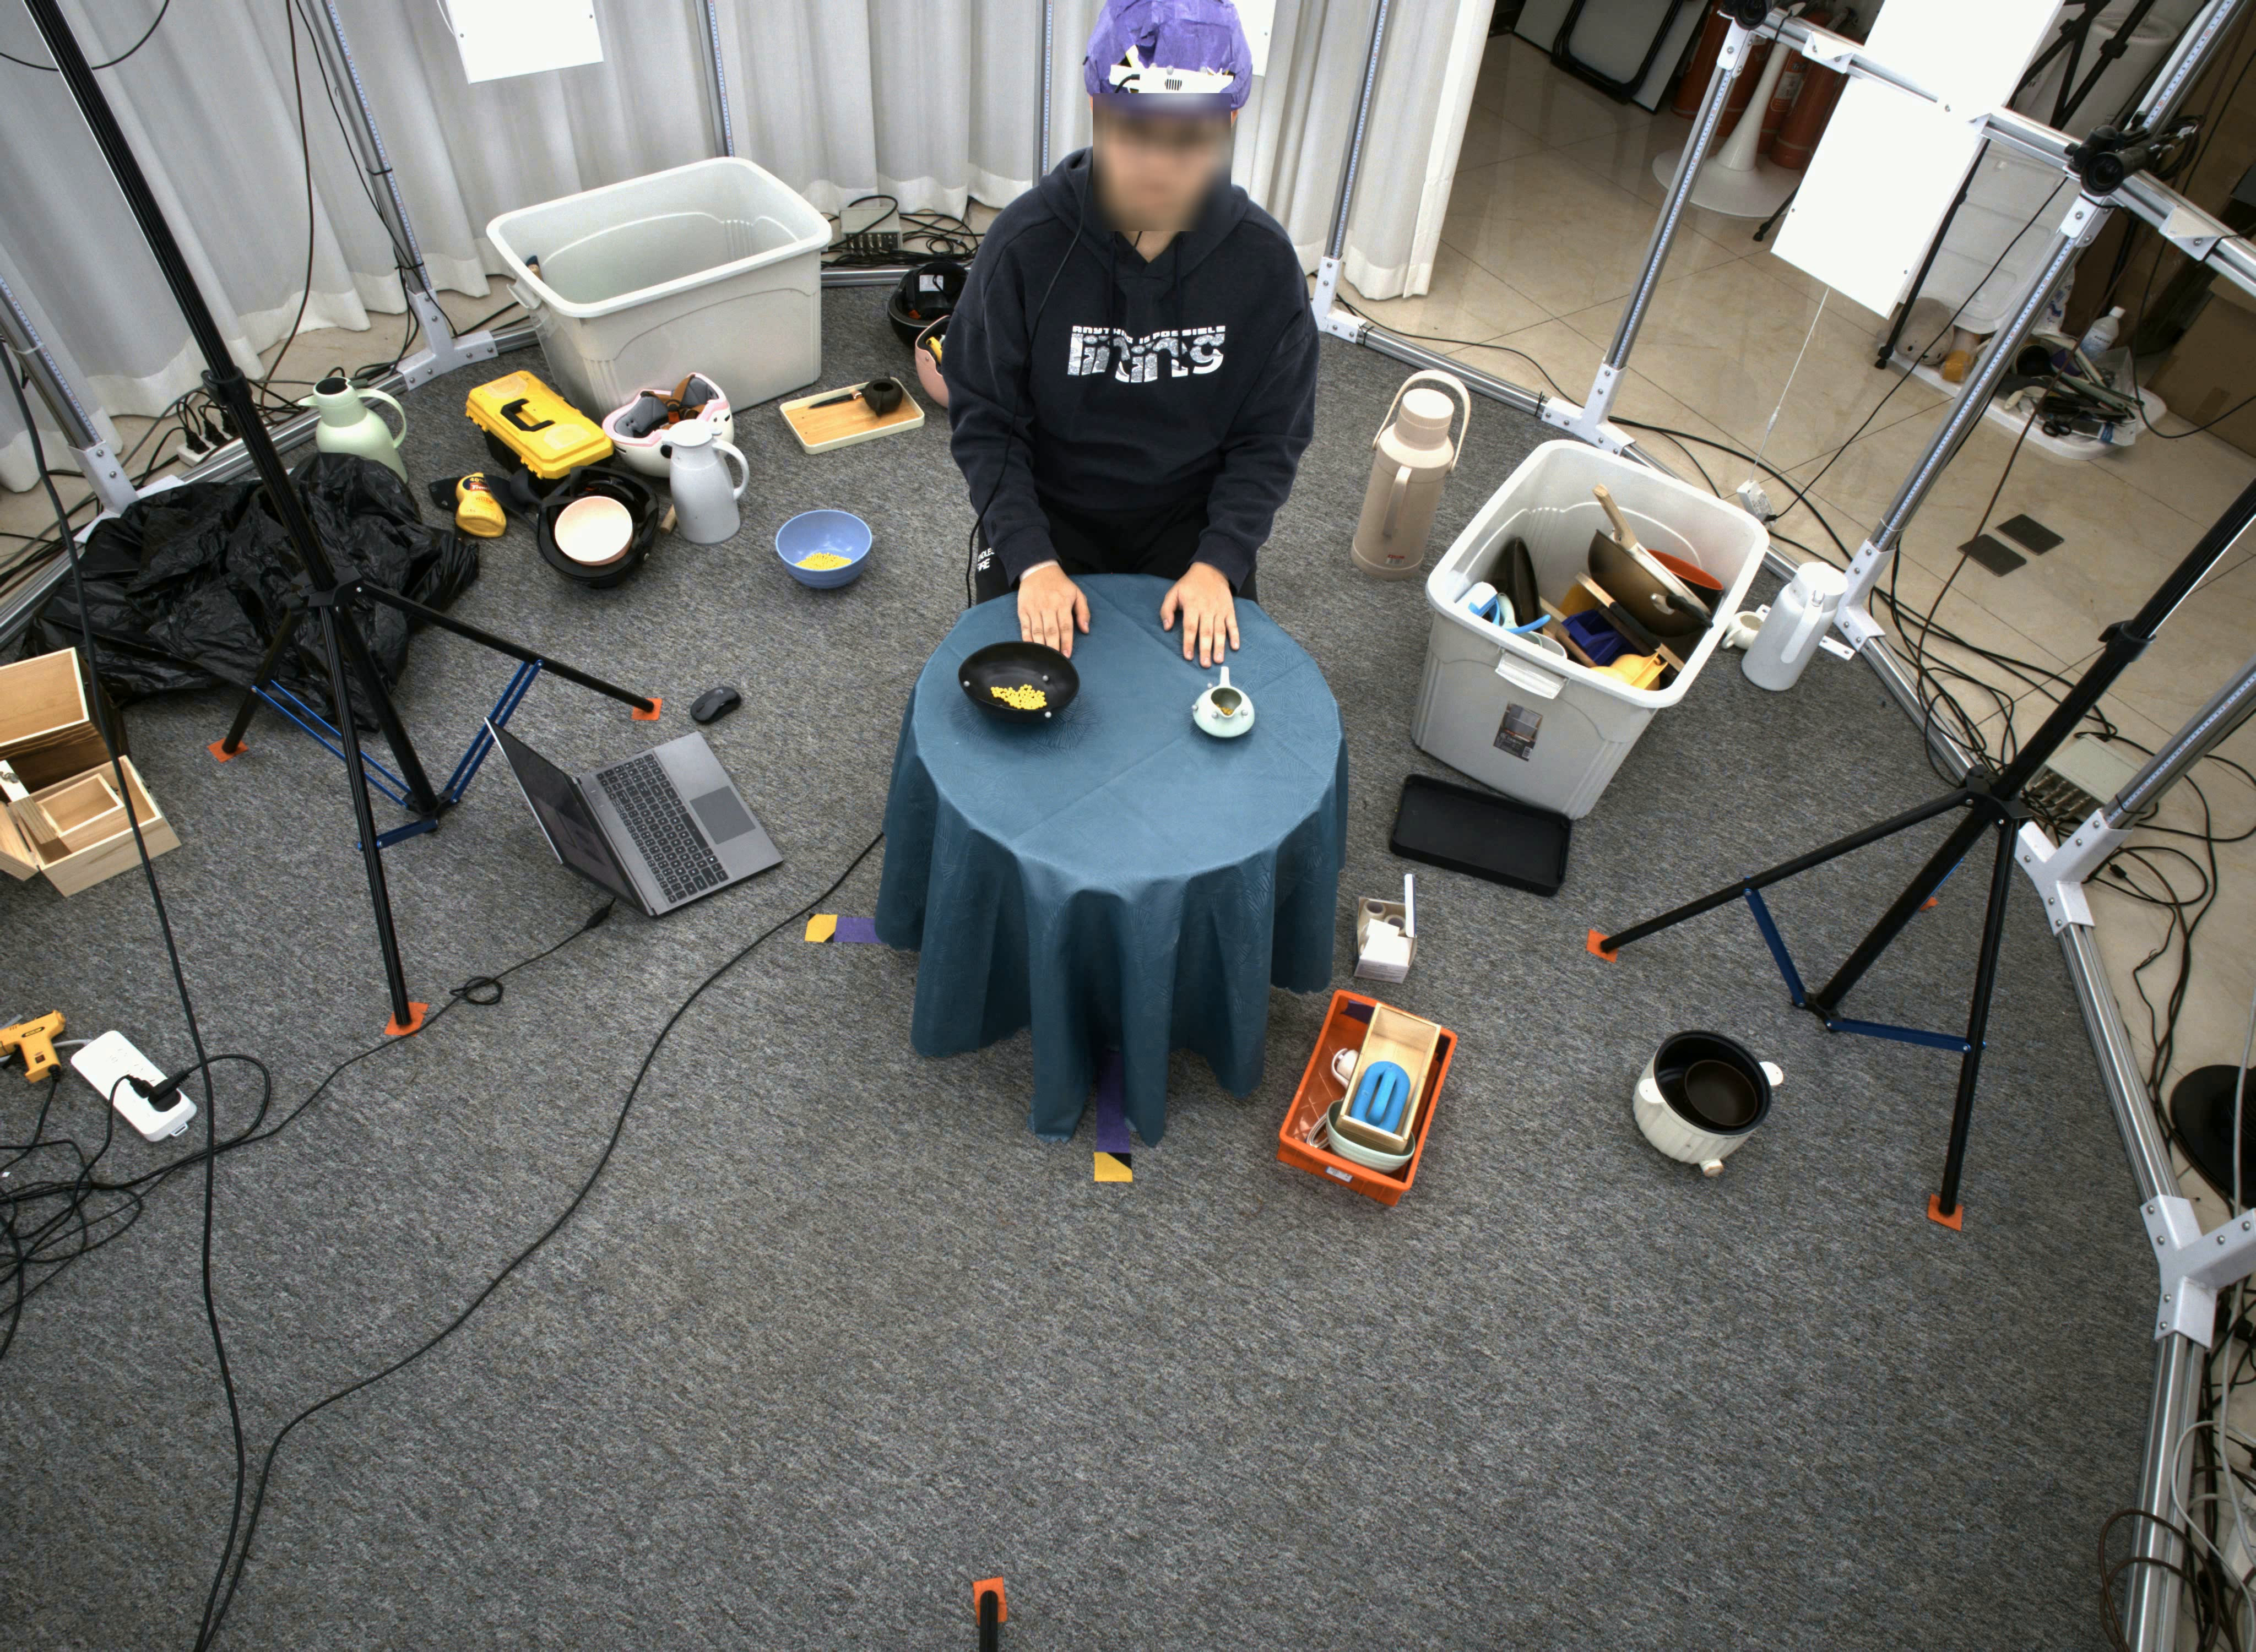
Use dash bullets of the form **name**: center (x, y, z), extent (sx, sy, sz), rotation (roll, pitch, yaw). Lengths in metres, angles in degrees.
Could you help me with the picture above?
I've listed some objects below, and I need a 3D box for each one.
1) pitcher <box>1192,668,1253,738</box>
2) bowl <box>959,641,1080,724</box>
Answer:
- **pitcher**: center (0.133, -0.171, 1.788), extent (0.086, 0.059, 0.111), rotation (2, 47, -4)
- **bowl**: center (-0.151, -0.187, 1.776), extent (0.170, 0.065, 0.140), rotation (12, 48, 7)
